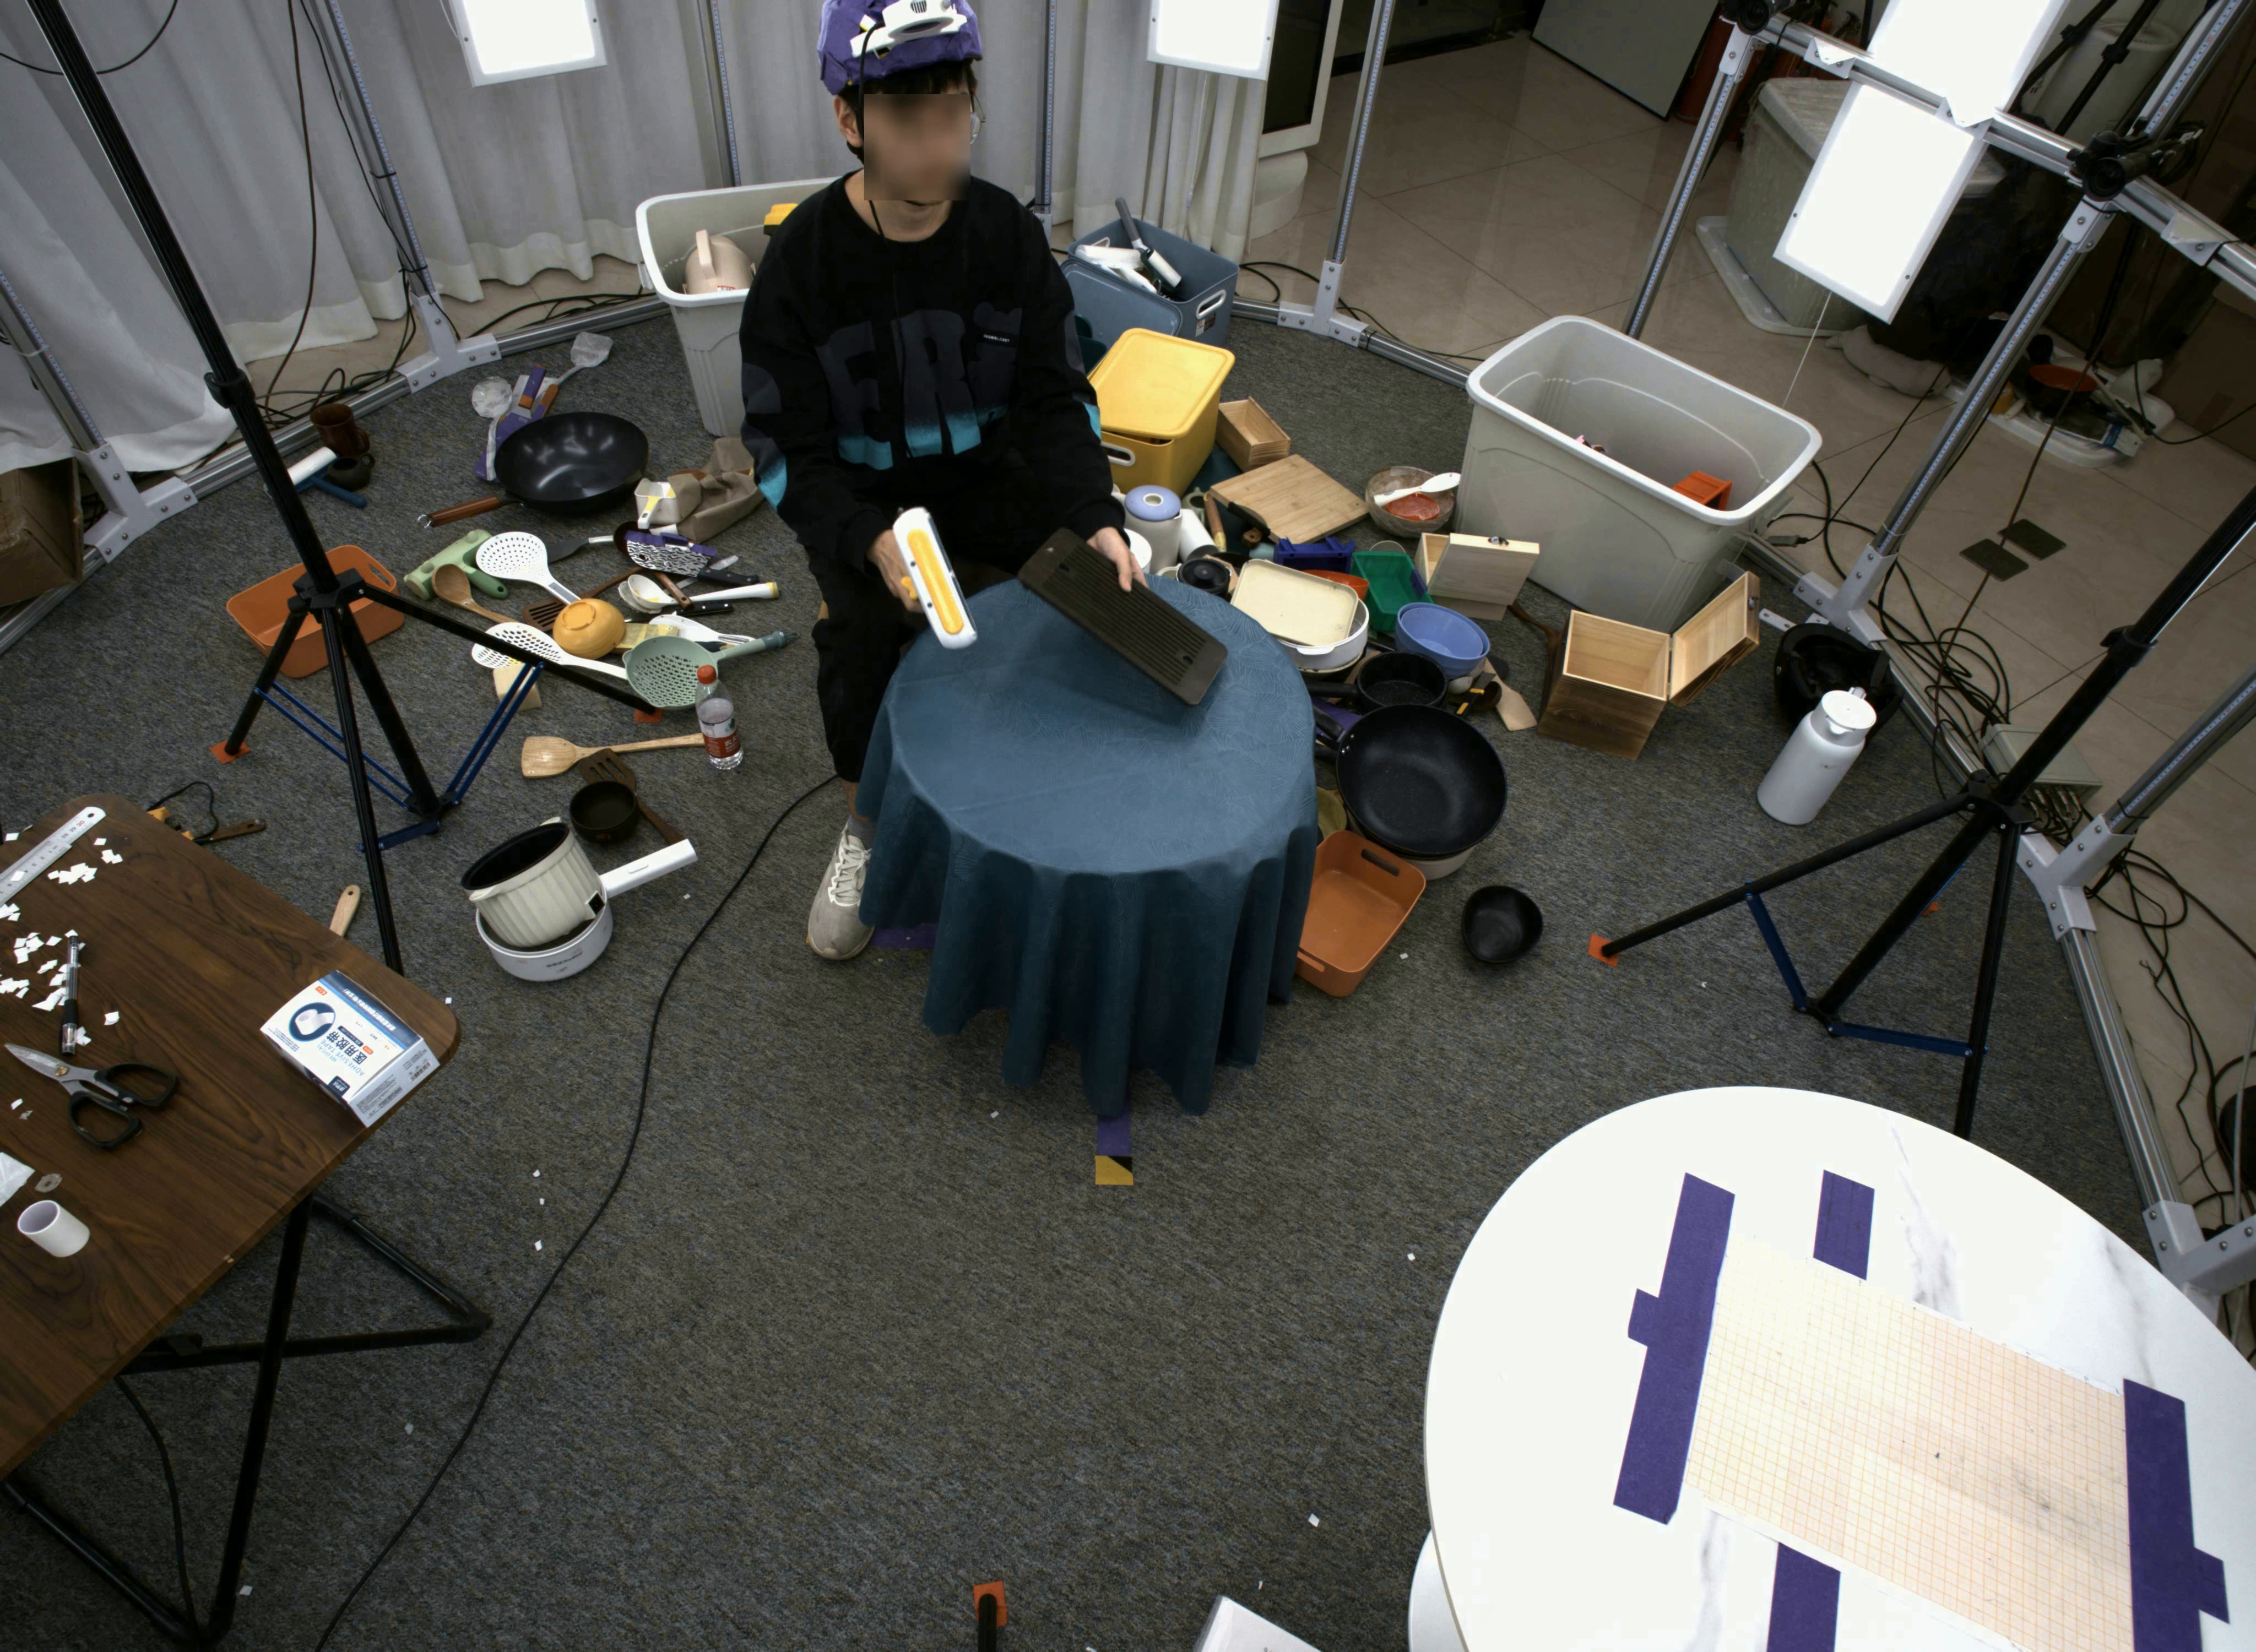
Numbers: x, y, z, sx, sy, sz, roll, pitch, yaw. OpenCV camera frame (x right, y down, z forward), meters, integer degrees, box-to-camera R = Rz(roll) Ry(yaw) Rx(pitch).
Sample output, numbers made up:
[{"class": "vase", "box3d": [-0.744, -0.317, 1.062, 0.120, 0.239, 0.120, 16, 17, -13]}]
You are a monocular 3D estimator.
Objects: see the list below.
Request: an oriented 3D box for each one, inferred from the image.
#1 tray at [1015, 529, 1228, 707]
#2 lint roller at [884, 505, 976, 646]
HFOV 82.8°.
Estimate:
[{"class": "tray", "box3d": [-0.006, -0.294, 1.820, 0.305, 0.018, 0.173, 35, 42, -2]}, {"class": "lint roller", "box3d": [-0.271, -0.337, 1.765, 0.074, 0.191, 0.194, -29, 11, 0]}]
